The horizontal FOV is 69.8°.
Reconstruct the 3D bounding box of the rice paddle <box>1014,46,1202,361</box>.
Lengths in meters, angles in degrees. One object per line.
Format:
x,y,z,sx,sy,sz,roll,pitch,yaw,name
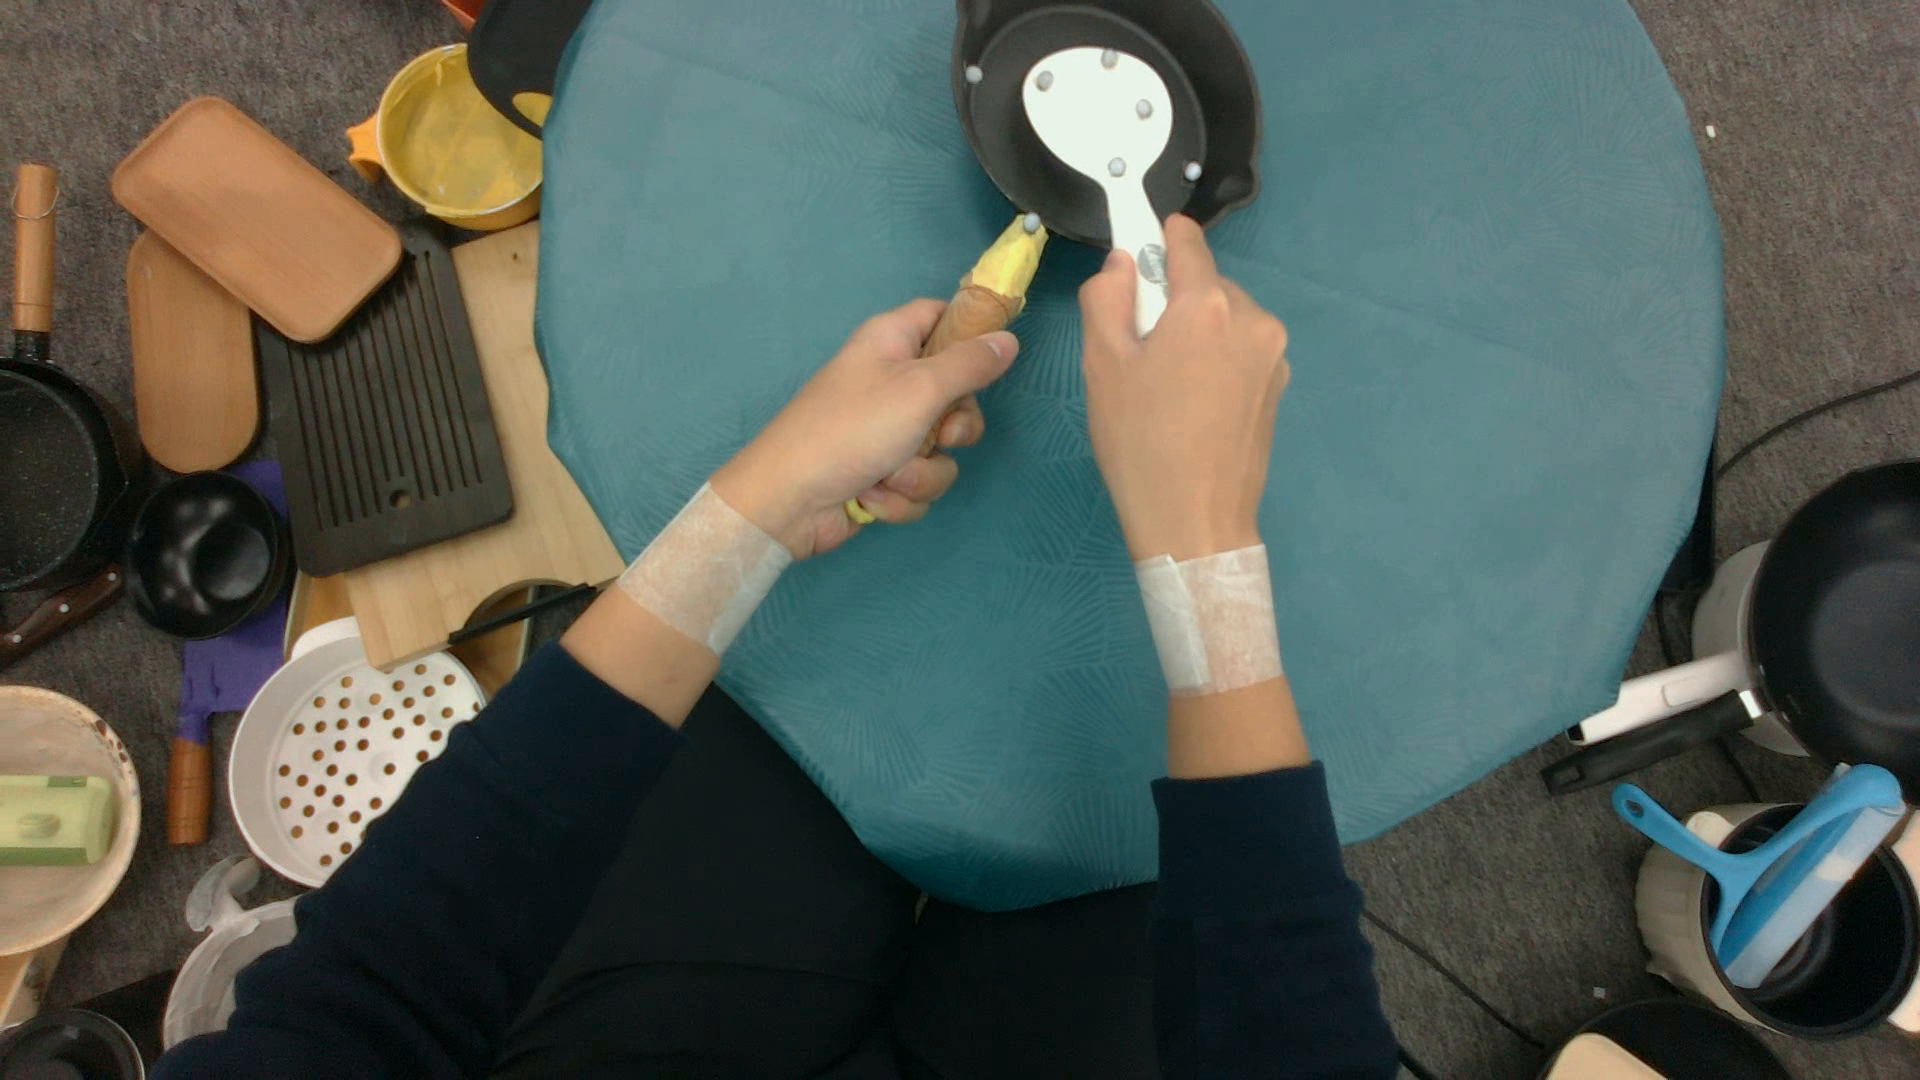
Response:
0.069,-0.164,0.620,0.069,0.029,0.206,-6,54,-5,rice paddle

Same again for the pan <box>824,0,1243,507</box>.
0.020,-0.147,0.631,0.169,0.049,0.325,34,70,-8,pan
